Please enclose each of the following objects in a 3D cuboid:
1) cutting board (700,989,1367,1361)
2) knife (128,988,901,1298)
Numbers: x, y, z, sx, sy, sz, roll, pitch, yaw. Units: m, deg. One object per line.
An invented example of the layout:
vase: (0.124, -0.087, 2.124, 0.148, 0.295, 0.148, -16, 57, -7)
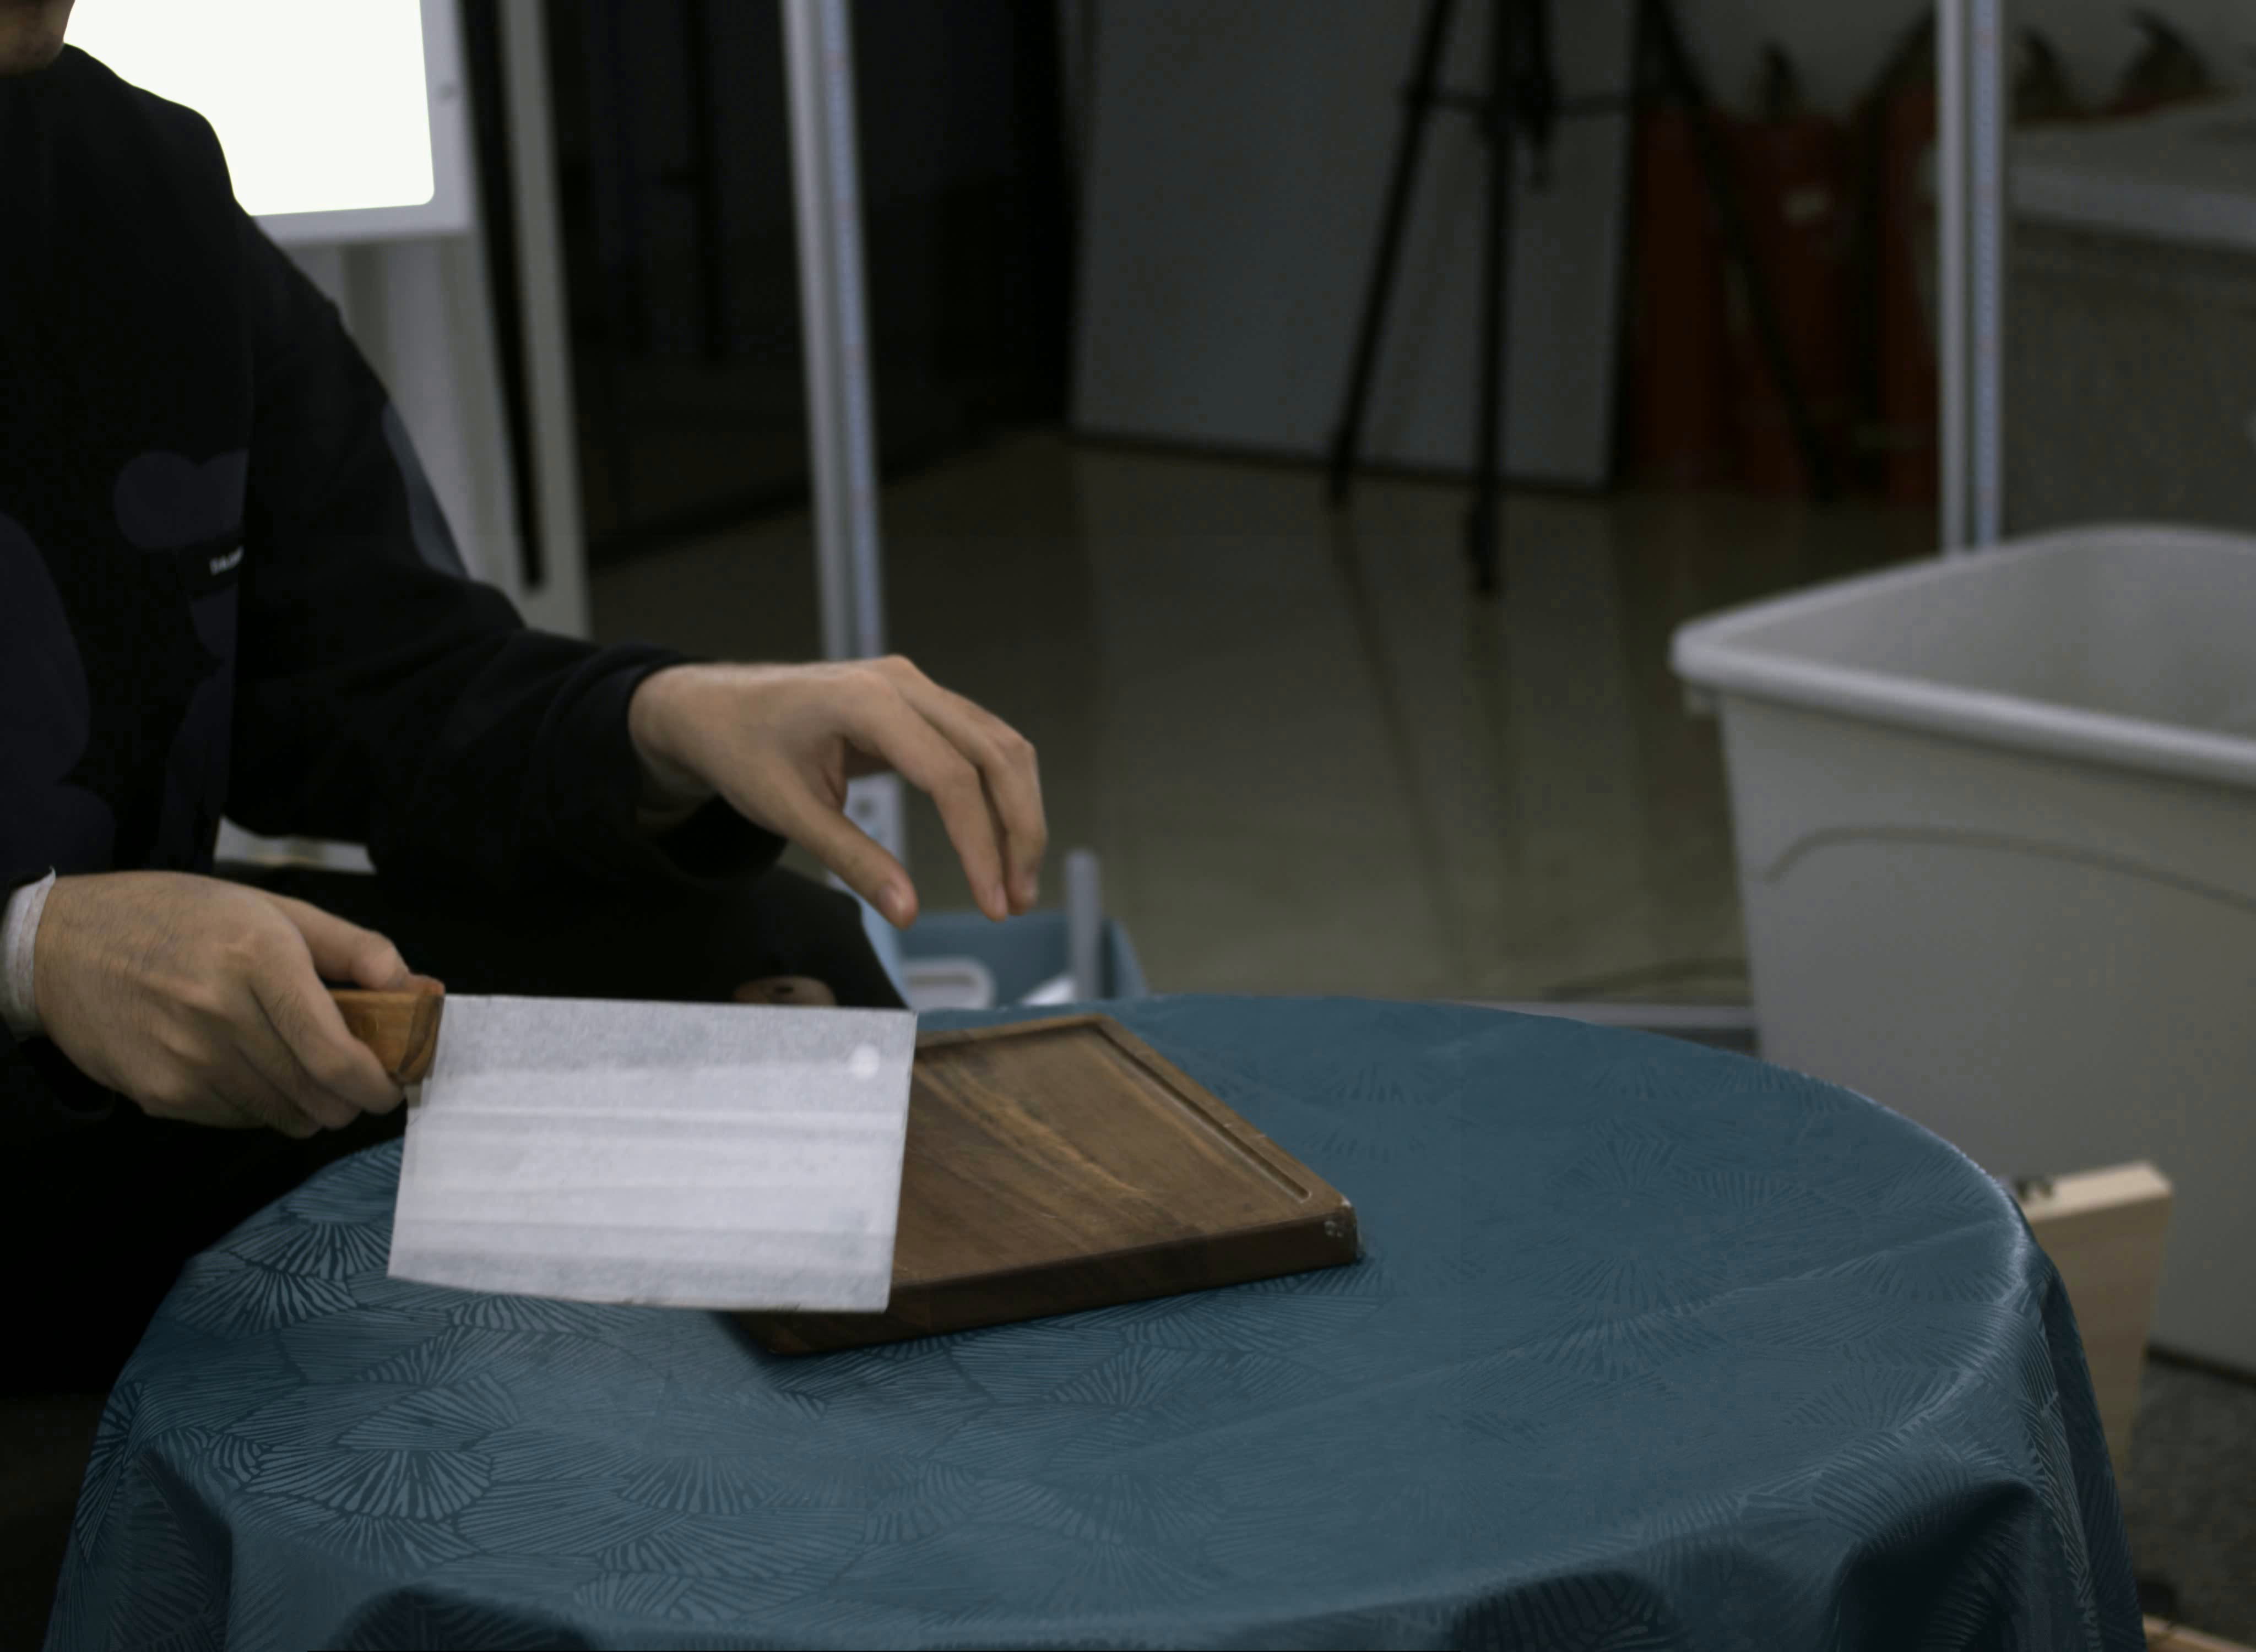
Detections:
cutting board: (-0.073, 0.105, 1.814, 0.197, 0.023, 0.355, -8, 14, -18)
knife: (-0.192, 0.097, 1.647, 0.307, 0.094, 0.020, 0, -10, 35)
